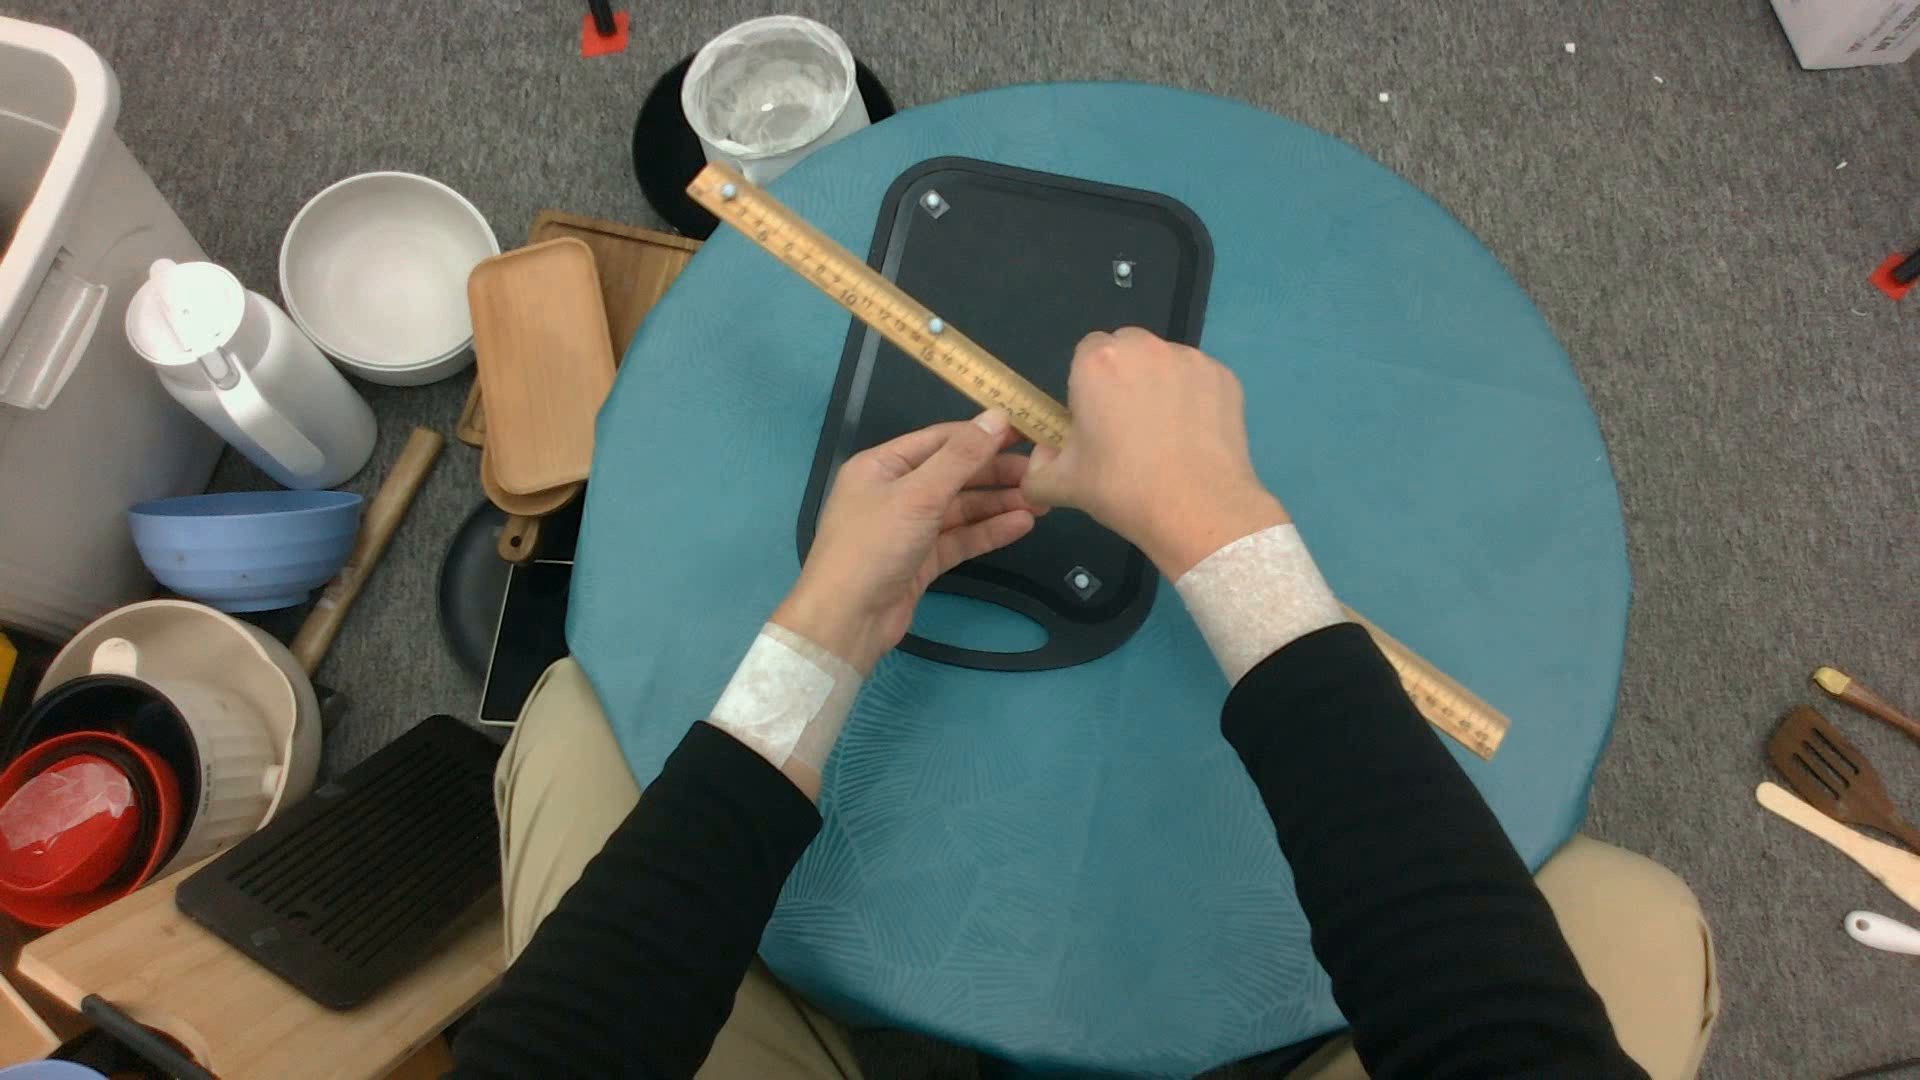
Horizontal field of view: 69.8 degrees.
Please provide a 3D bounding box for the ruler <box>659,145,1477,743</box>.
[{"bbox_3d":[0.053,-0.050,0.705,0.500,0.006,0.027,35,75,2],"label":"ruler"}]

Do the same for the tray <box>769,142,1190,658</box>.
[{"bbox_3d":[0.015,-0.089,0.812,0.211,0.010,0.326,12,70,2],"label":"tray"}]
